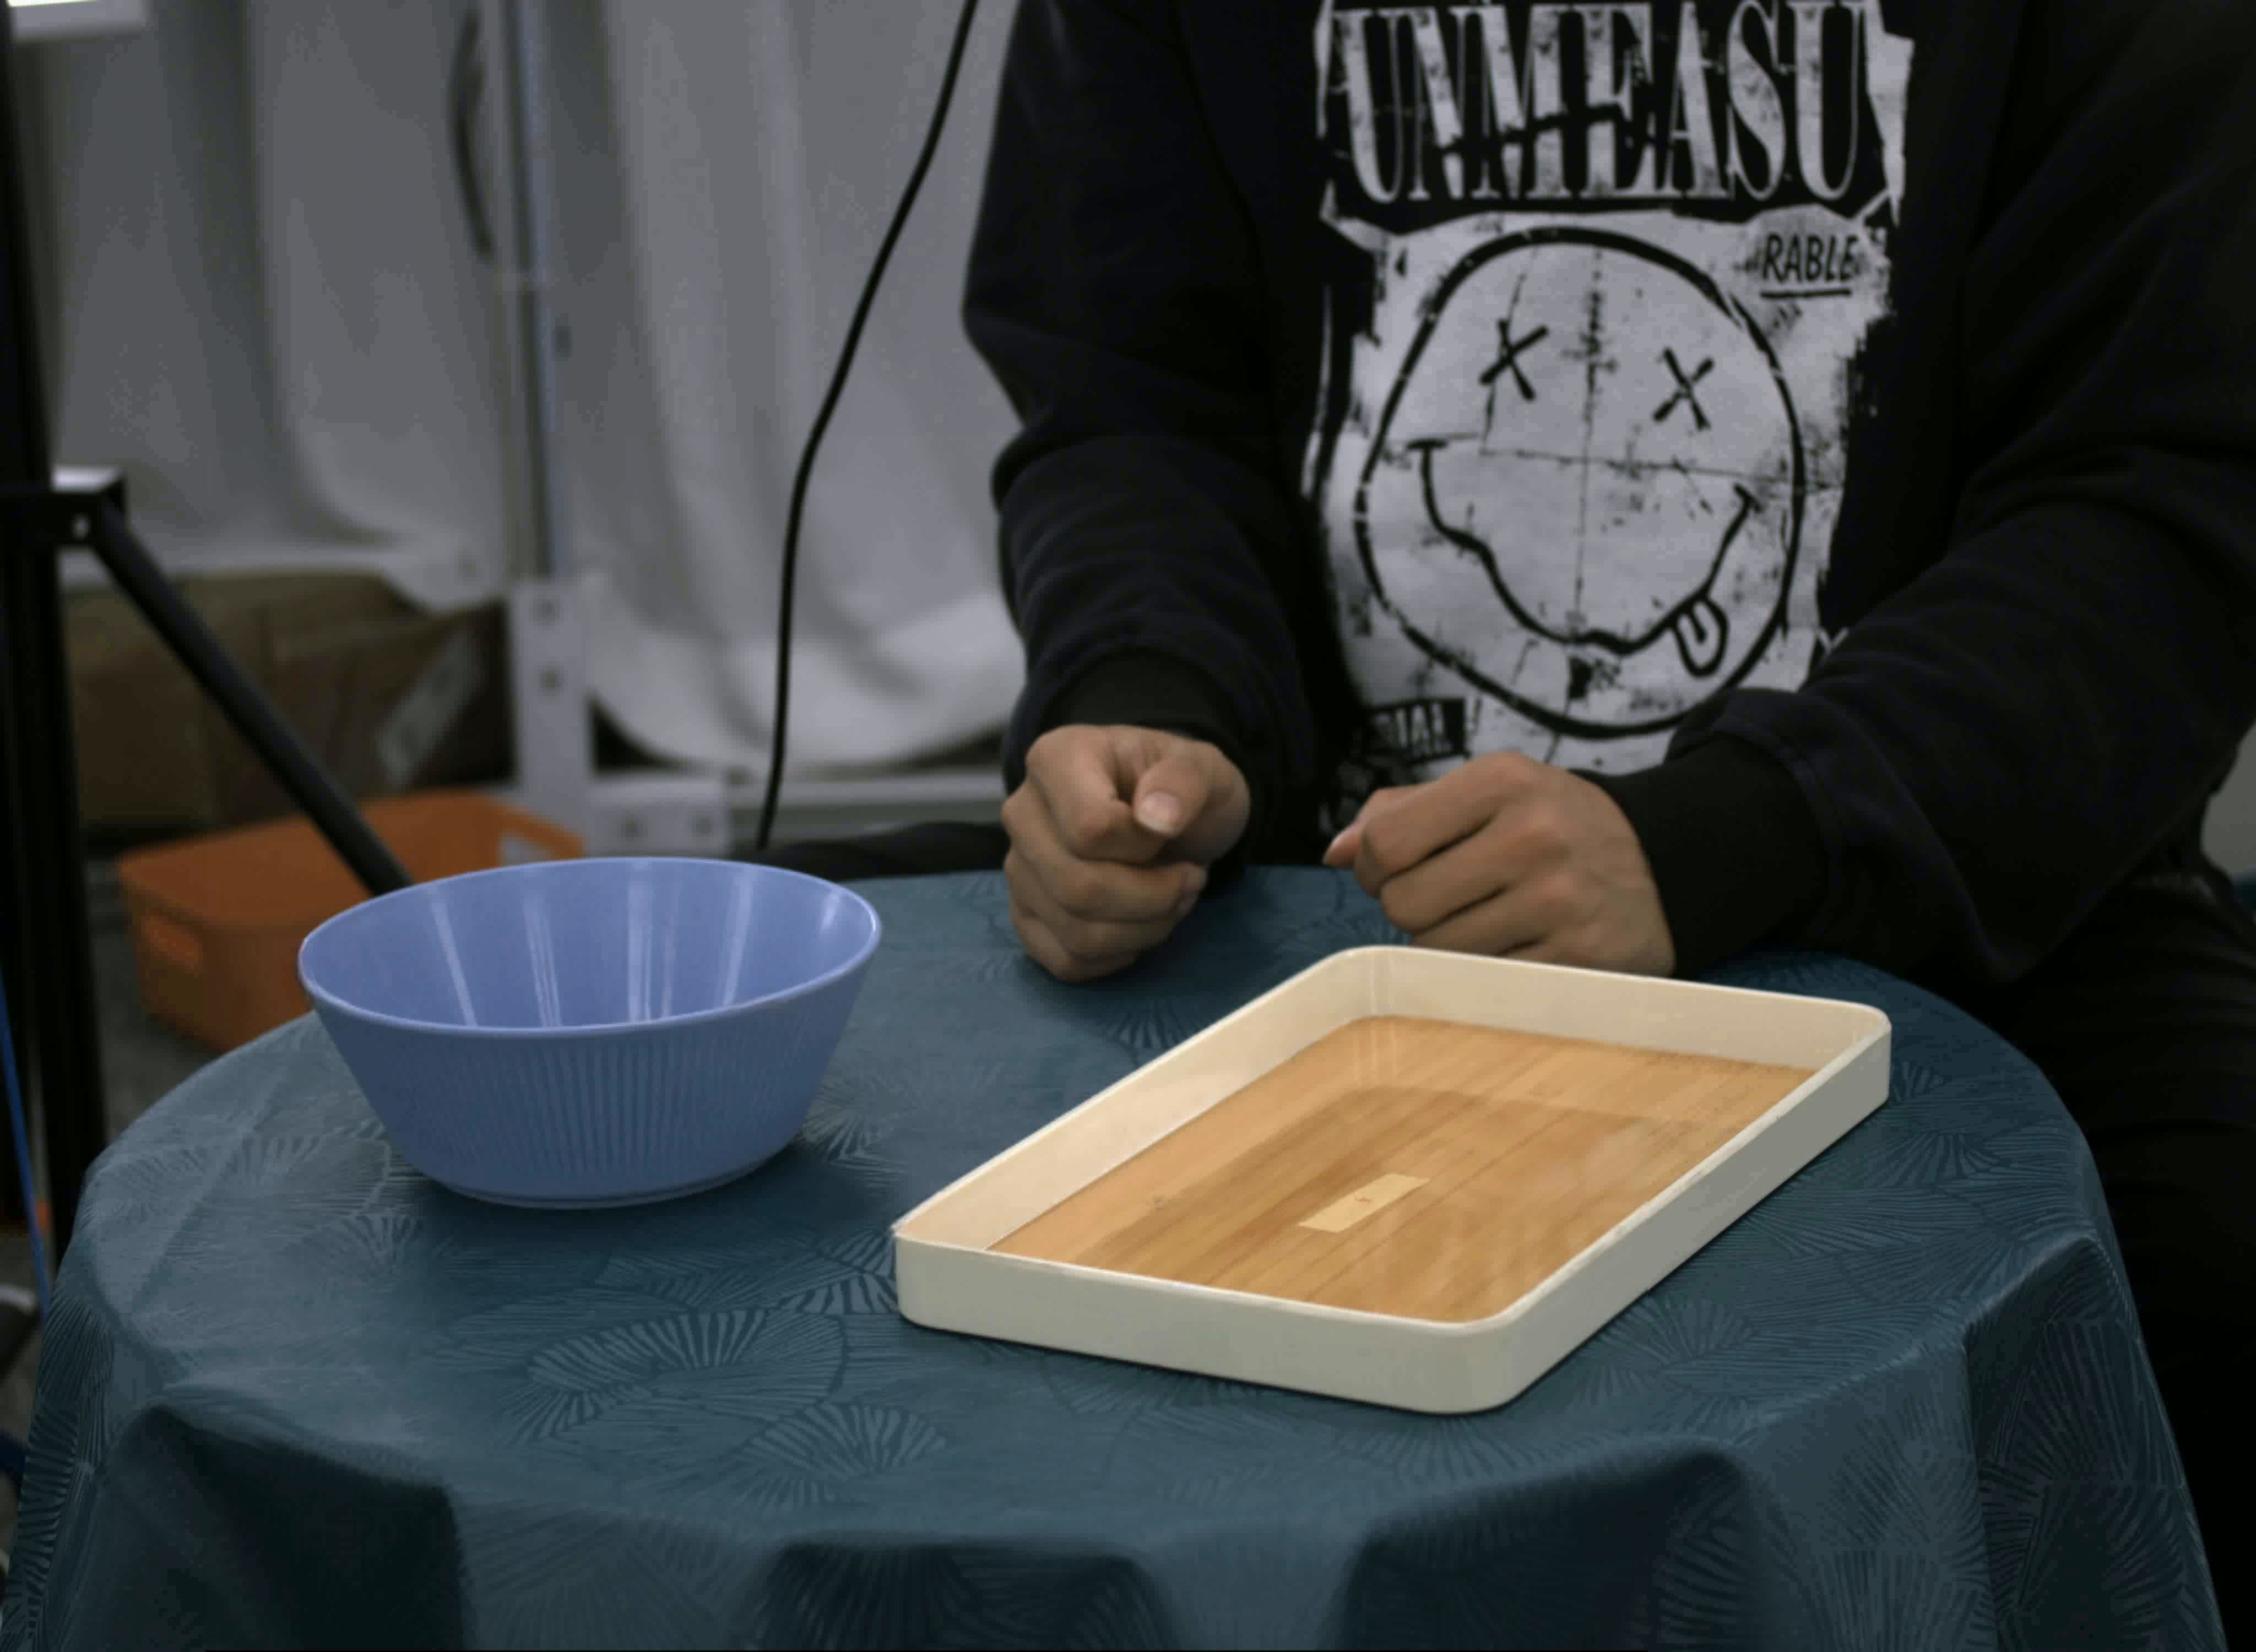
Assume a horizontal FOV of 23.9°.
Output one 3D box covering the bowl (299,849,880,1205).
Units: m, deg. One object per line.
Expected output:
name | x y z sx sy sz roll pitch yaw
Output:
bowl | -0.160 0.063 1.611 0.175 0.070 0.177 -3 17 -1

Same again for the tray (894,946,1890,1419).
tray | 0.084 0.097 1.534 0.195 0.027 0.295 7 18 29
